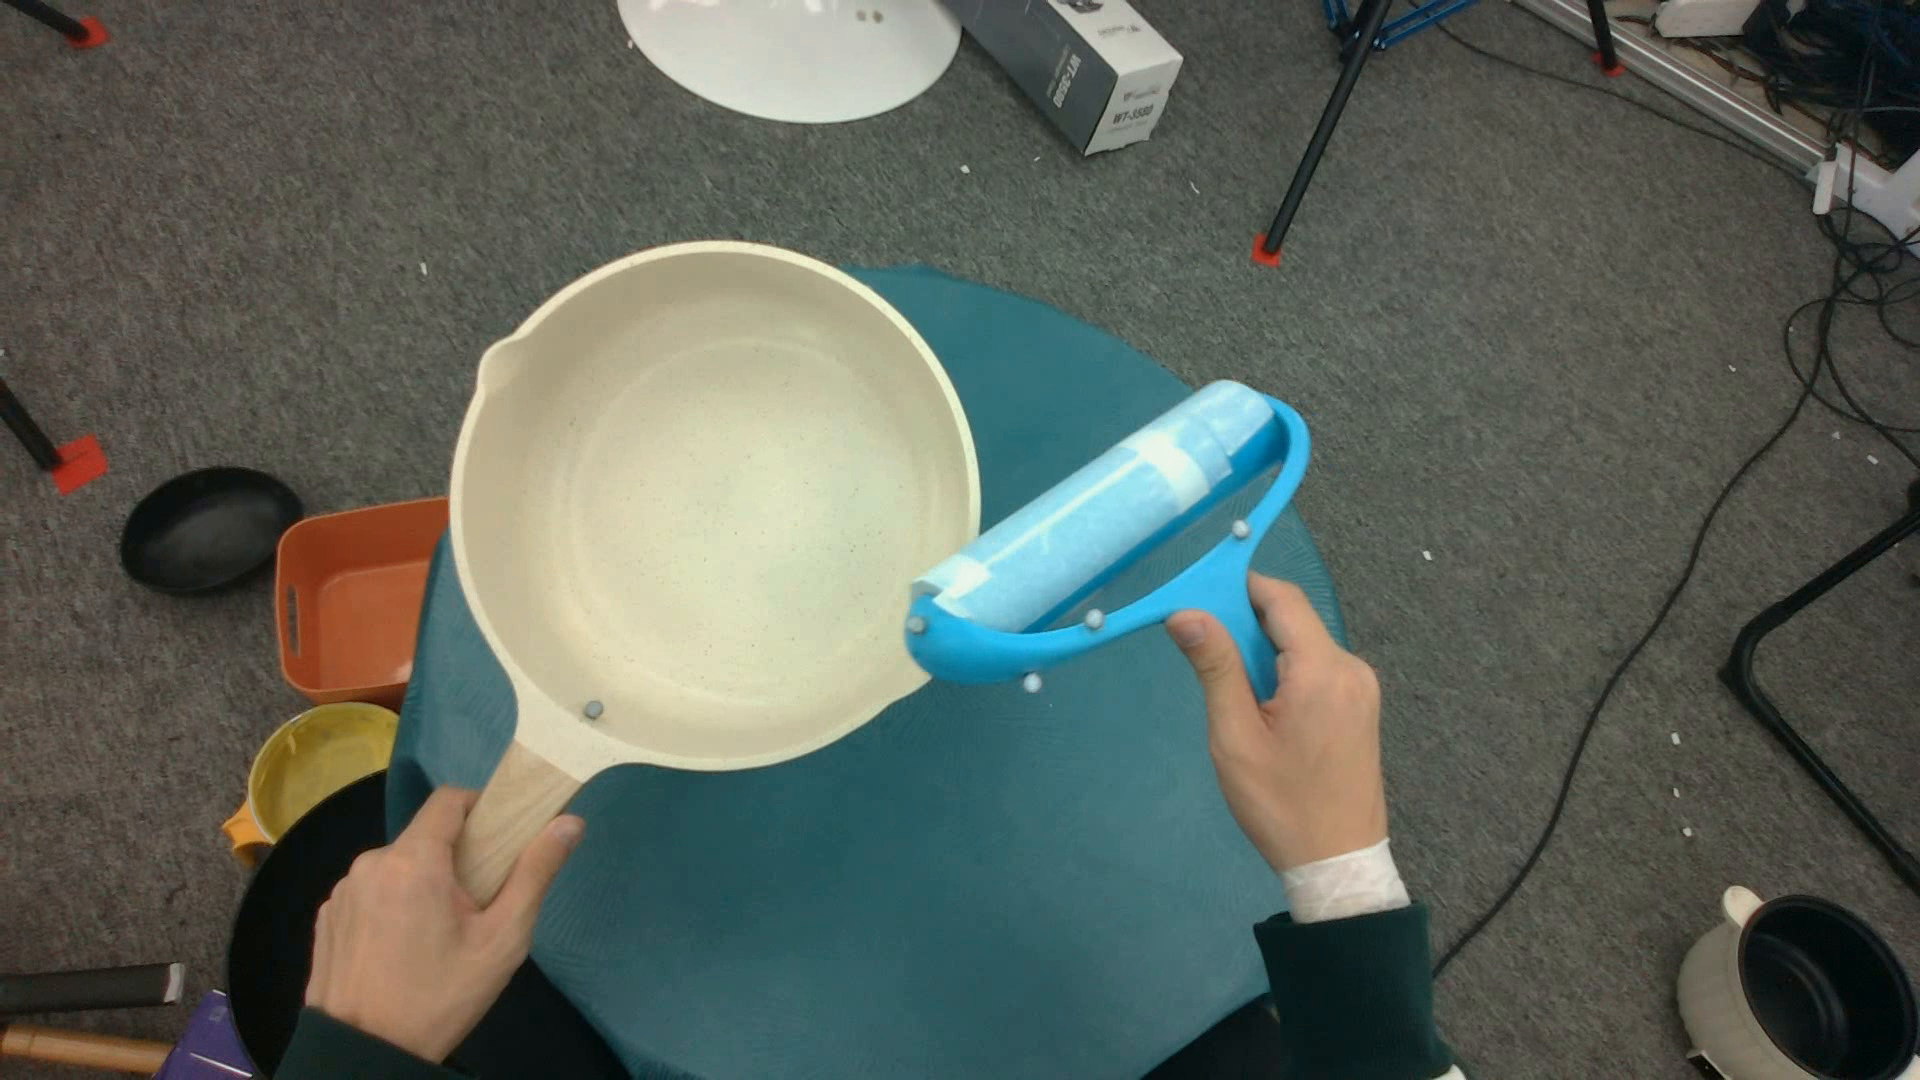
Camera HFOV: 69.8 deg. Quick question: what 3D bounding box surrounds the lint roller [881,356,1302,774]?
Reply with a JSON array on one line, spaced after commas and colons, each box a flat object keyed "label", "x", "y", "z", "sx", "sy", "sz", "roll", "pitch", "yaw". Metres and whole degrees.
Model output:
[{"label": "lint roller", "x": 0.096, "y": 0.025, "z": 0.618, "sx": 0.180, "sy": 0.067, "sz": 0.230, "roll": 44, "pitch": 60, "yaw": 11}]

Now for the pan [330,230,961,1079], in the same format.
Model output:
[{"label": "pan", "x": -0.171, "y": 0.059, "z": 0.675, "sx": 0.263, "sy": 0.102, "sz": 0.435, "roll": 31, "pitch": 89, "yaw": 0}]
